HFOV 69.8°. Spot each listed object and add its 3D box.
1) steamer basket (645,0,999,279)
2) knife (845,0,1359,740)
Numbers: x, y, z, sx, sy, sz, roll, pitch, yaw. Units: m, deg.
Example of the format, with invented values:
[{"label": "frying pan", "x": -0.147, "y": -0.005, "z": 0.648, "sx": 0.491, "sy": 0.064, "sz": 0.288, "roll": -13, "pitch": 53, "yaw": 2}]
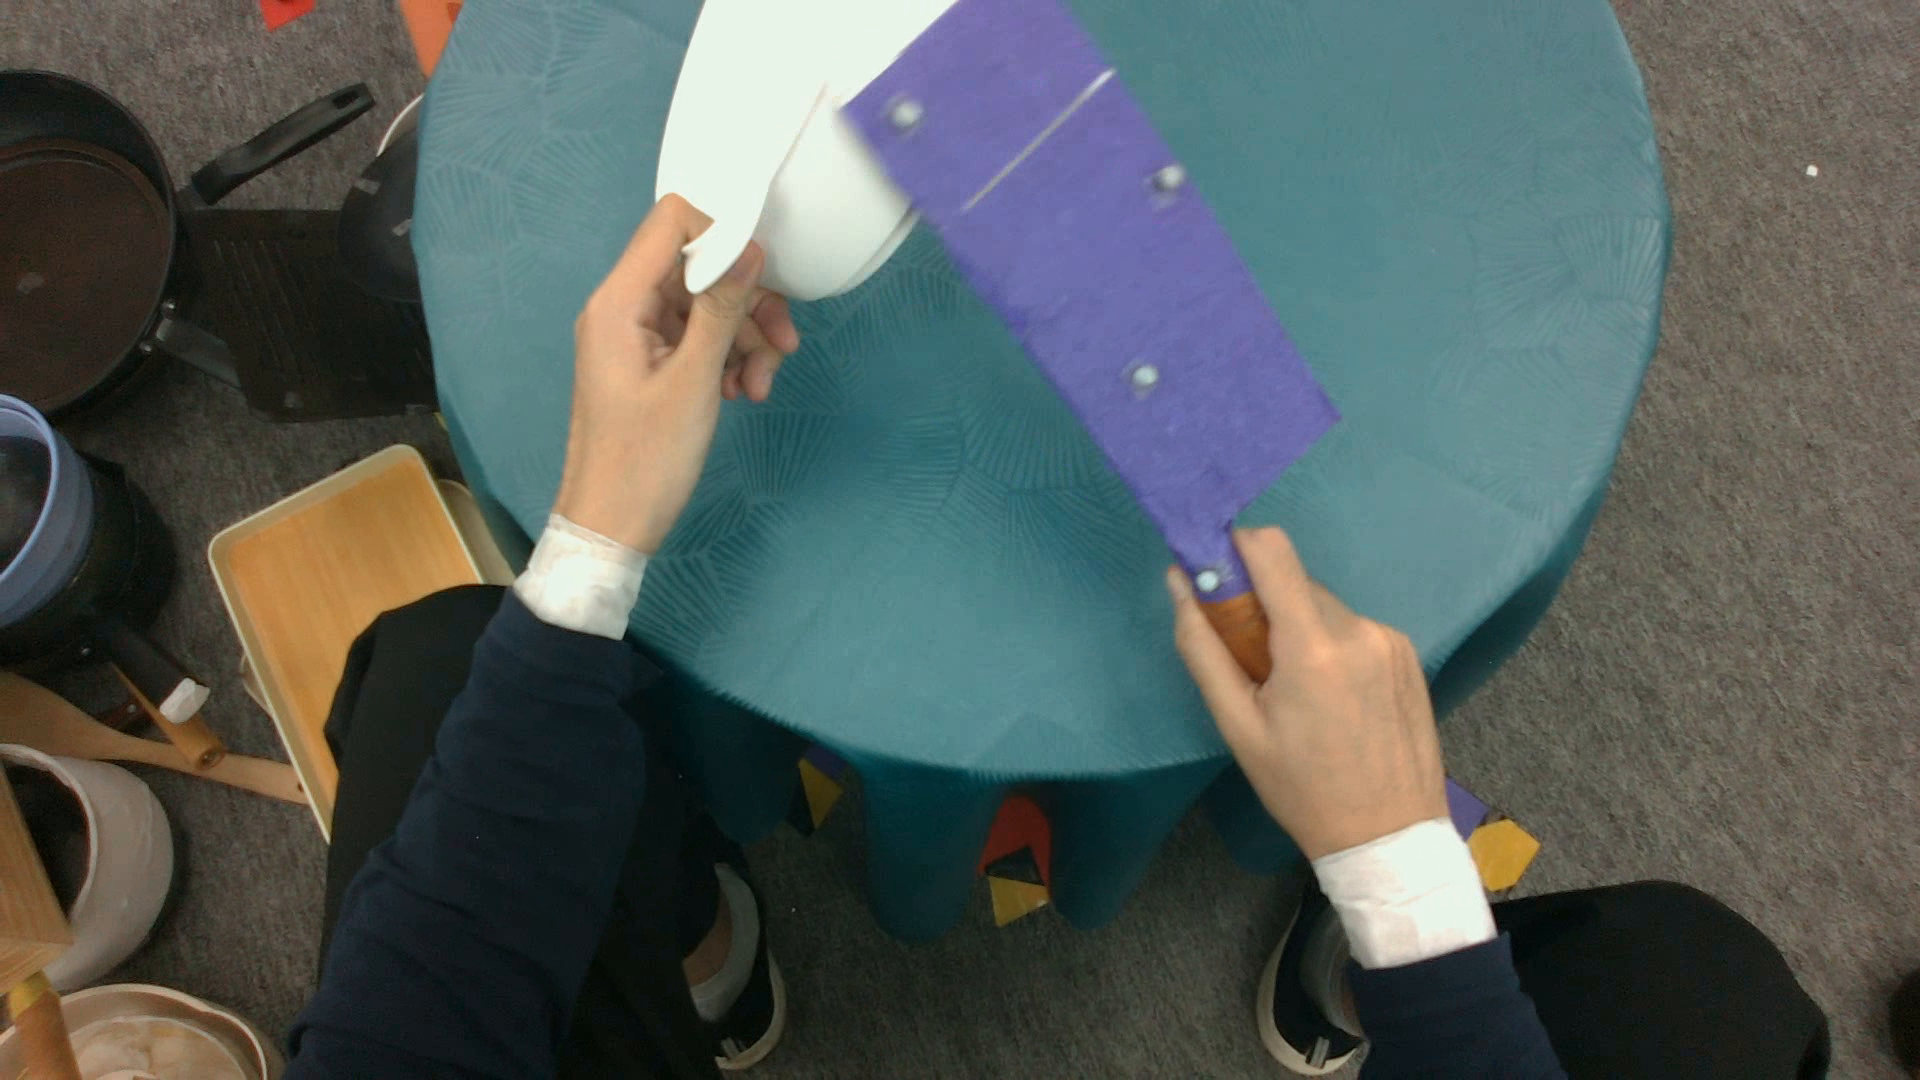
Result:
[{"label": "steamer basket", "x": -0.056, "y": -0.203, "z": 0.545, "sx": 0.069, "sy": 0.201, "sz": 0.231, "roll": 17, "pitch": 70, "yaw": -30}, {"label": "knife", "x": 0.086, "y": -0.065, "z": 0.509, "sx": 0.104, "sy": 0.032, "sz": 0.315, "roll": -41, "pitch": 112, "yaw": -12}]
